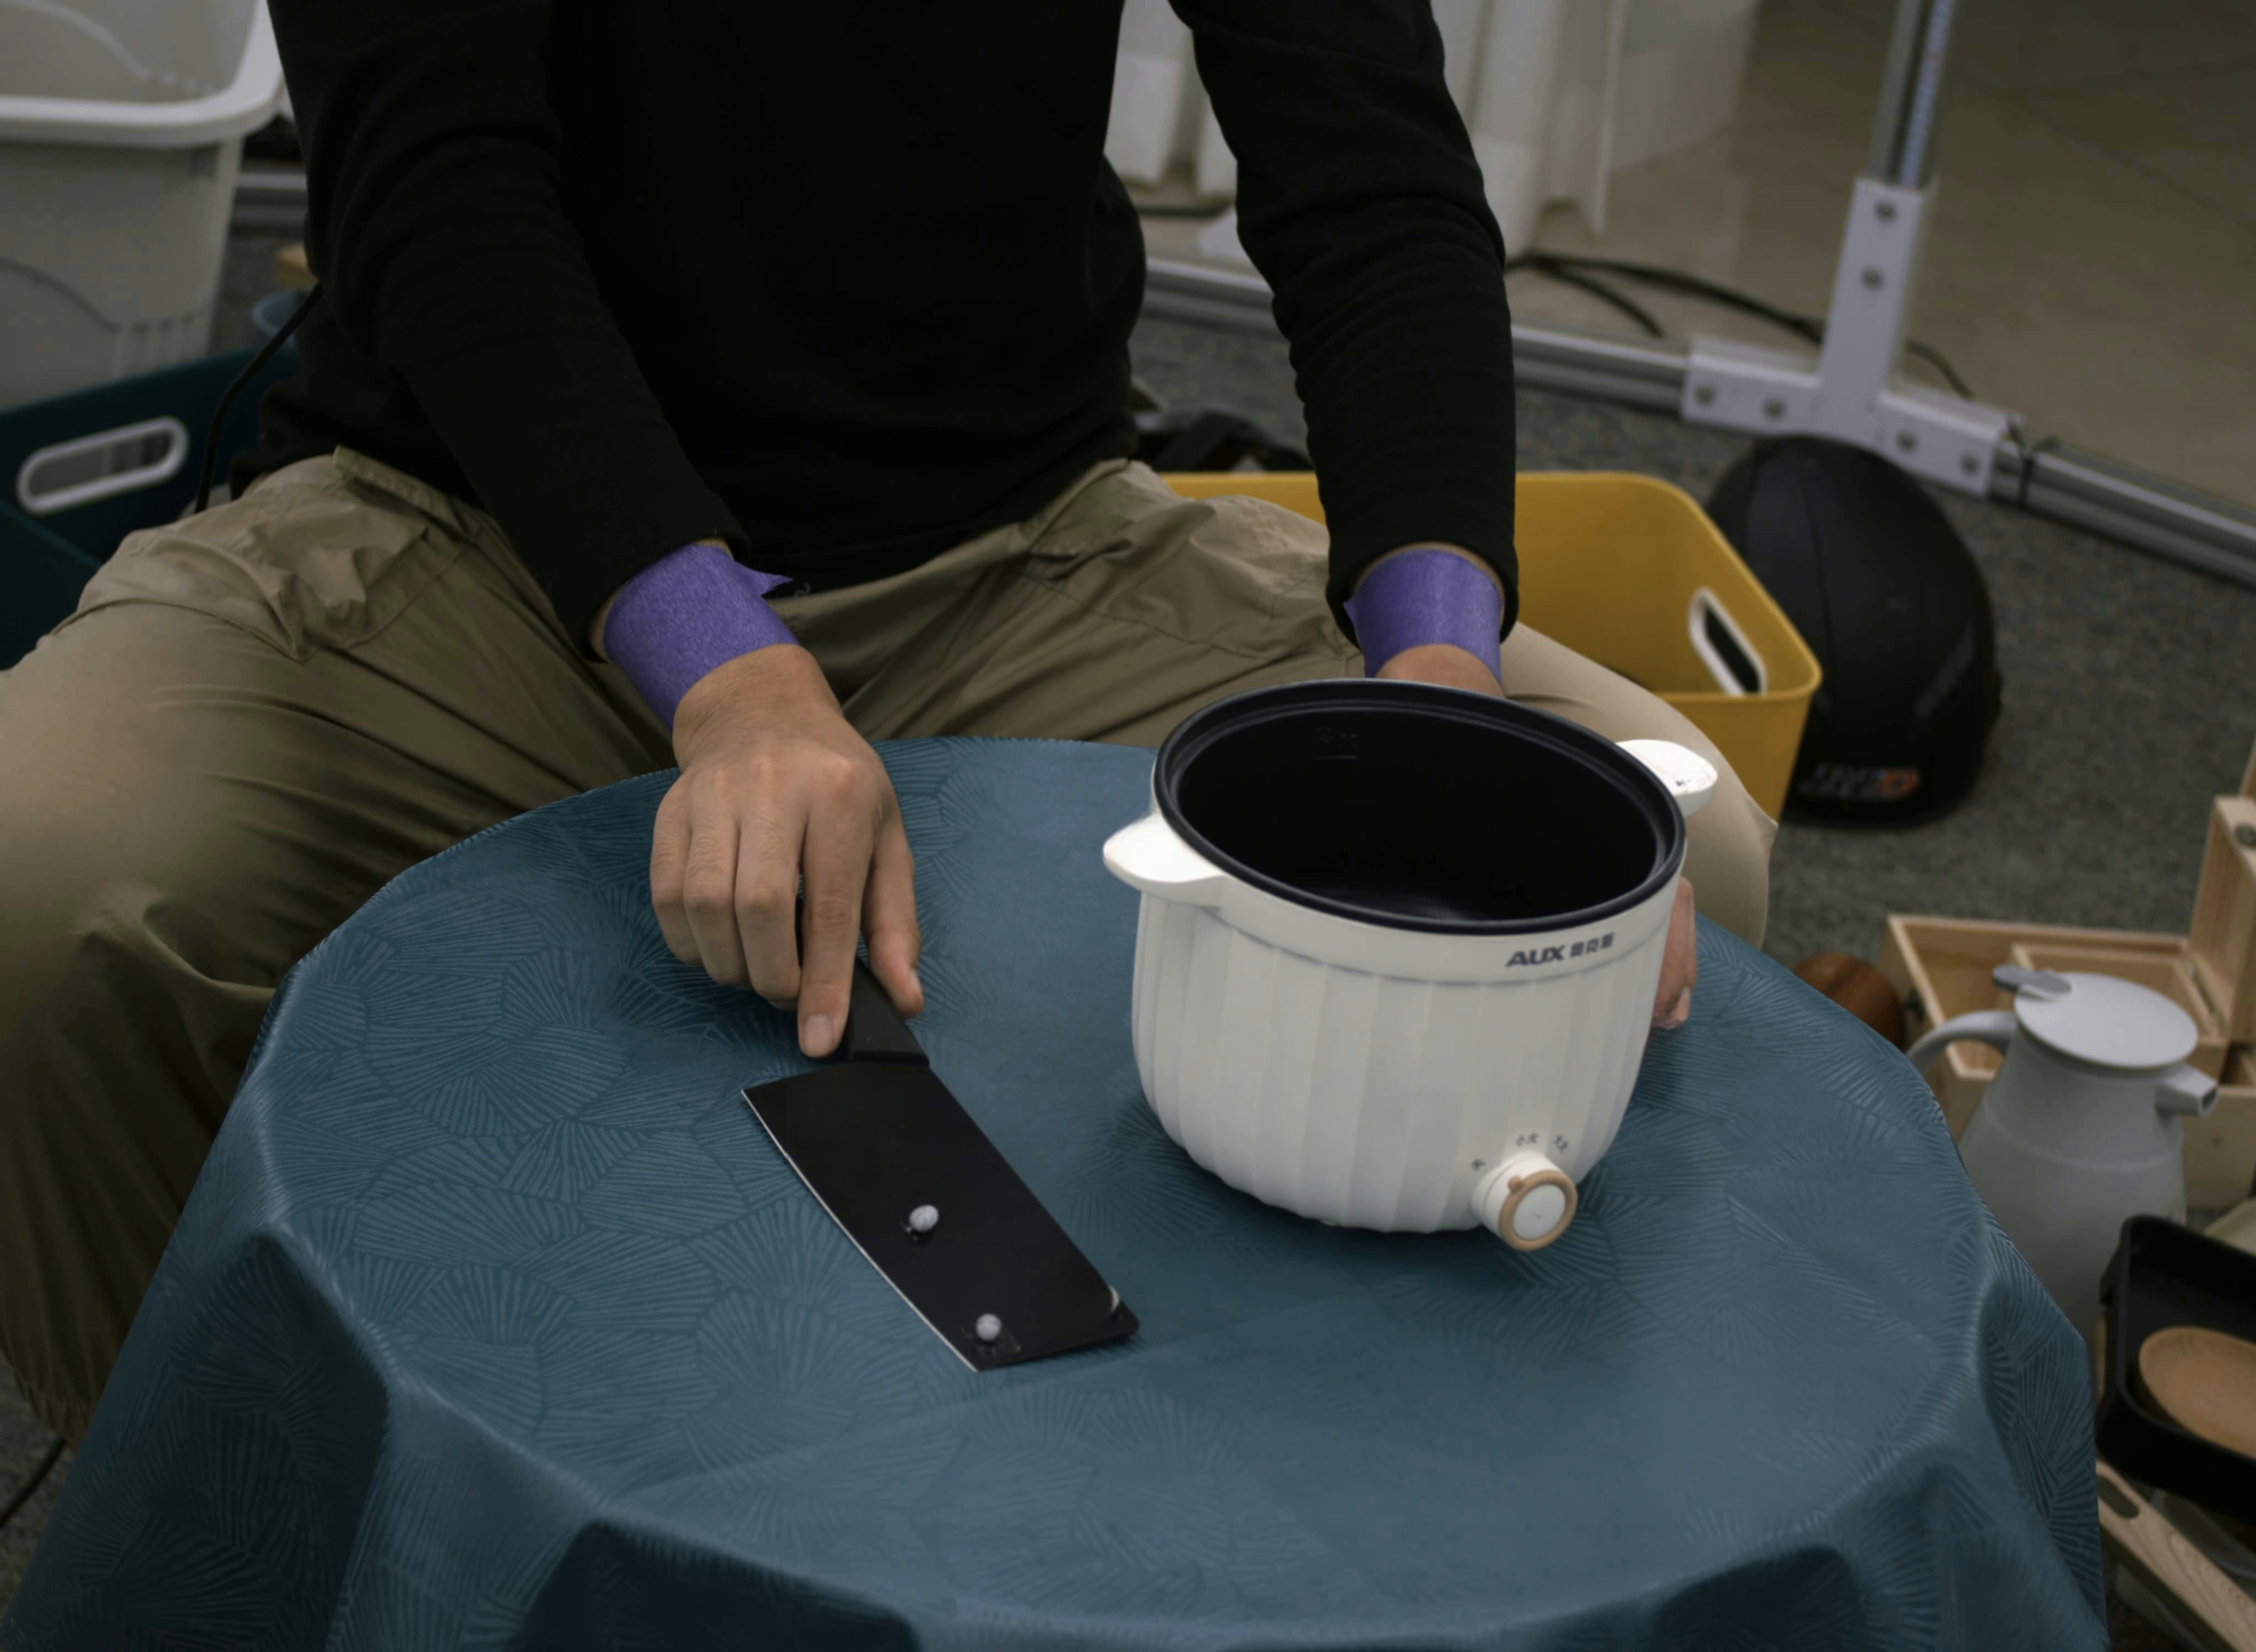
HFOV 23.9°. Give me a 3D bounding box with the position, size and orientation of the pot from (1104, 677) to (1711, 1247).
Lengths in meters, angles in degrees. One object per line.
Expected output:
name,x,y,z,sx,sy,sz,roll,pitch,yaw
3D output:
pot,0.095,0.051,1.818,0.239,0.142,0.192,-11,28,-29

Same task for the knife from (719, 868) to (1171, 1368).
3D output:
knife,-0.078,0.096,1.825,0.080,0.021,0.305,-10,34,-20
